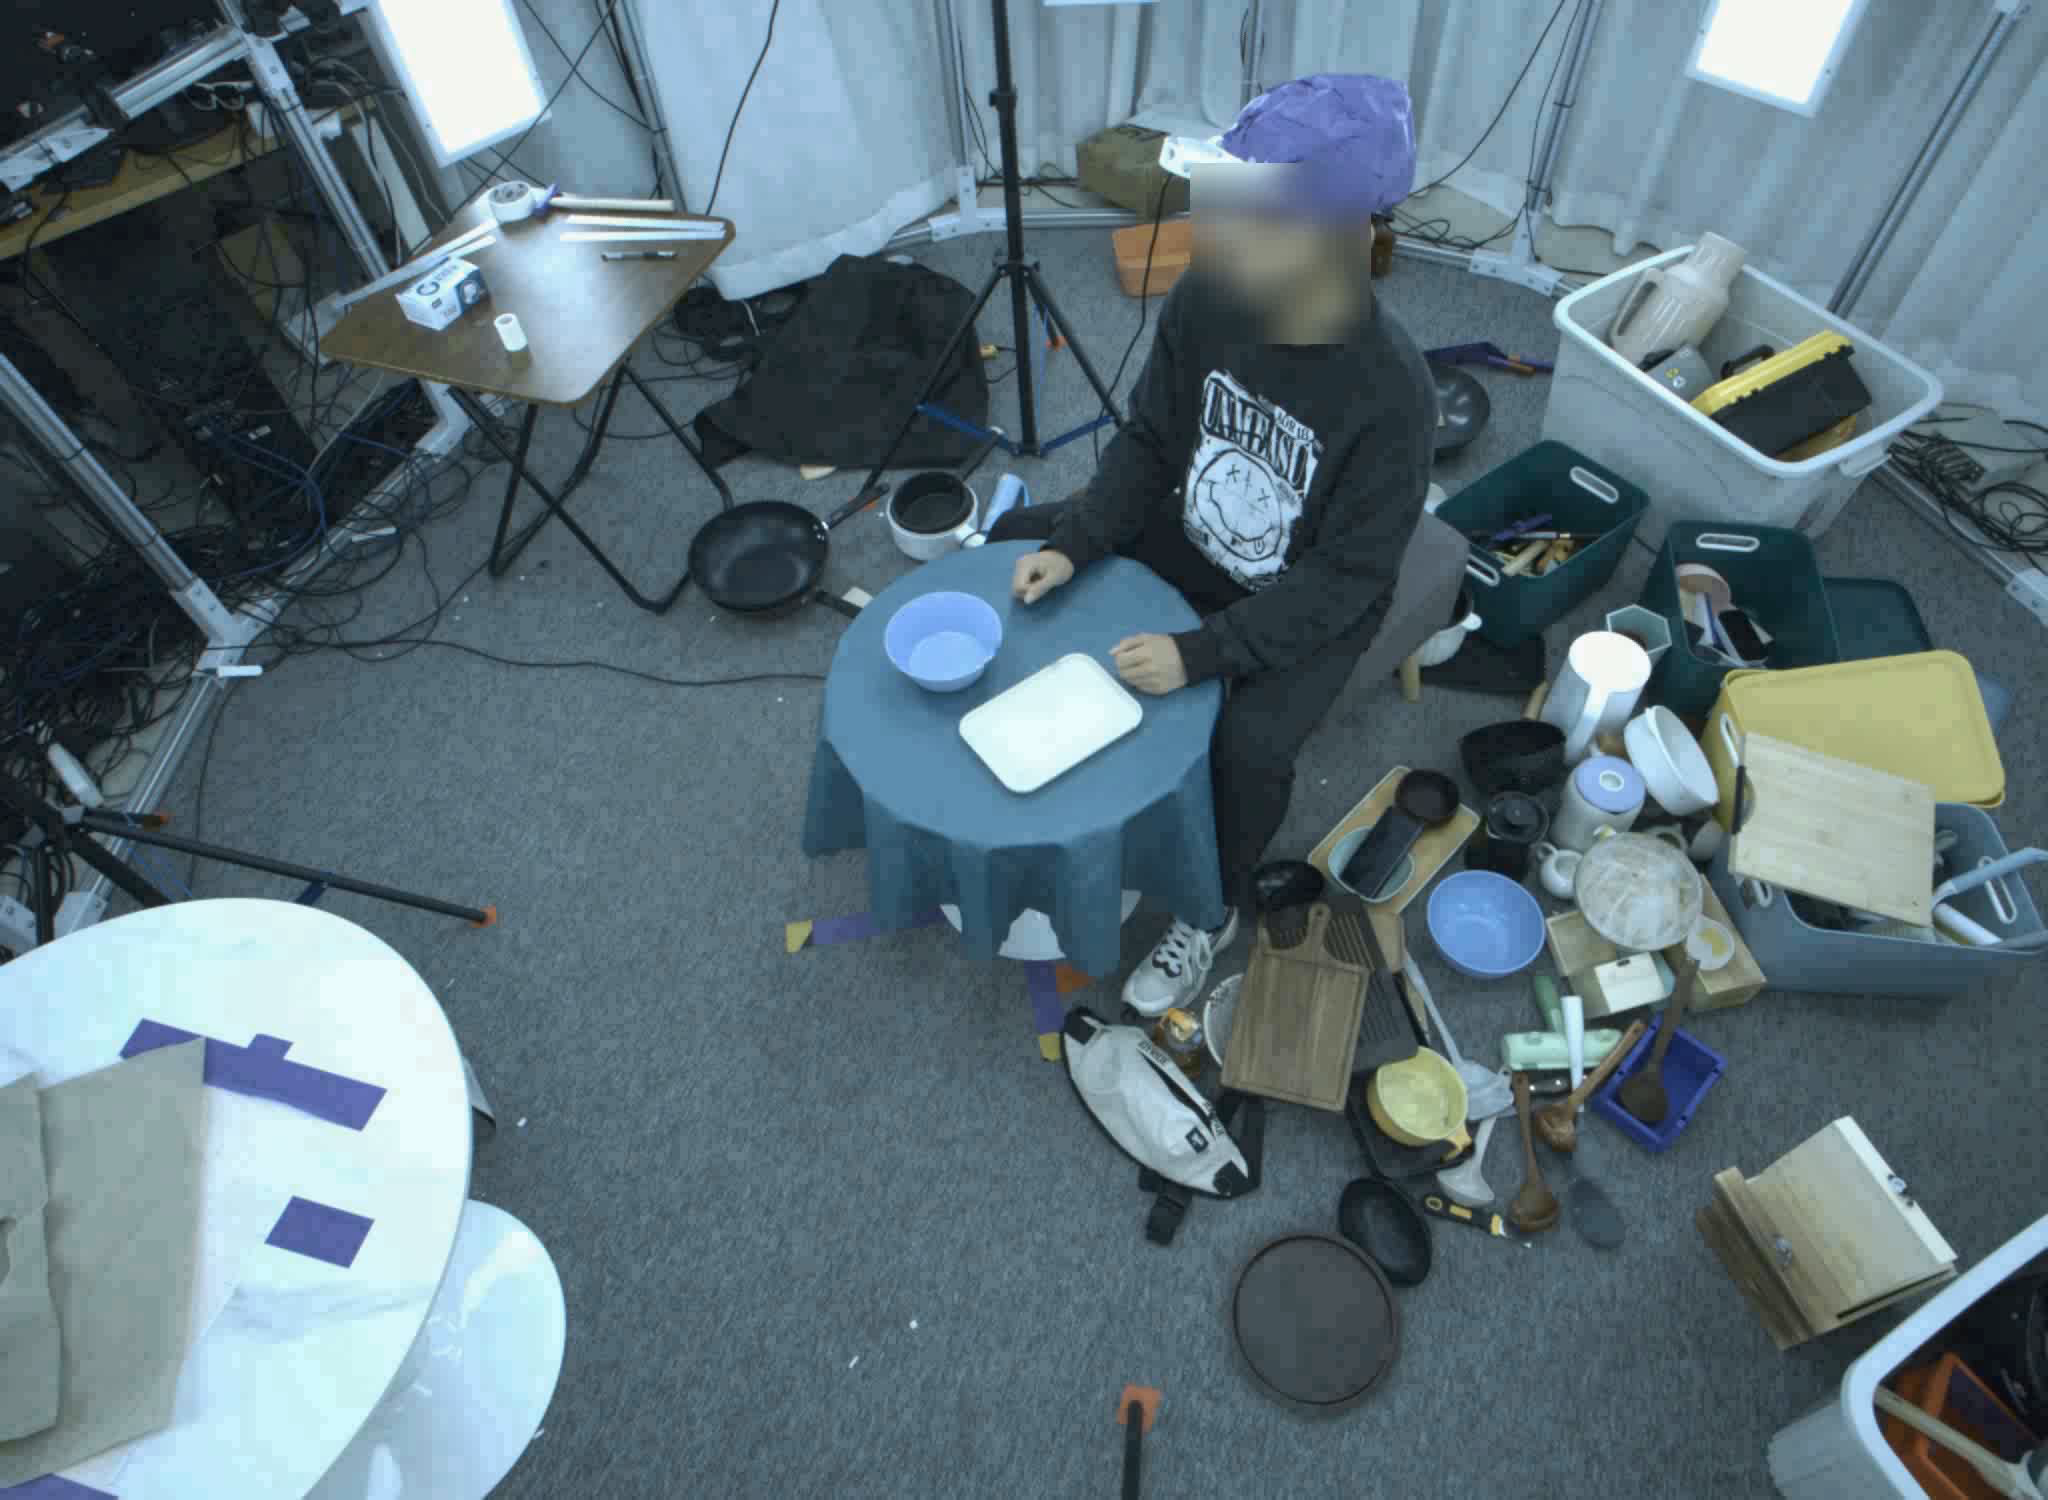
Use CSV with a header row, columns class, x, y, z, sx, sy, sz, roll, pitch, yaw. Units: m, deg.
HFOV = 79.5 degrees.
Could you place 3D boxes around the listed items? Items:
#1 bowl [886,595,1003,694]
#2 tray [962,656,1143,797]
class,x,y,z,sx,sy,sz,roll,pitch,yaw
bowl,-0.118,-0.151,1.864,0.176,0.071,0.174,0,55,1
tray,0.042,-0.036,1.811,0.241,0.017,0.168,-31,60,-19
